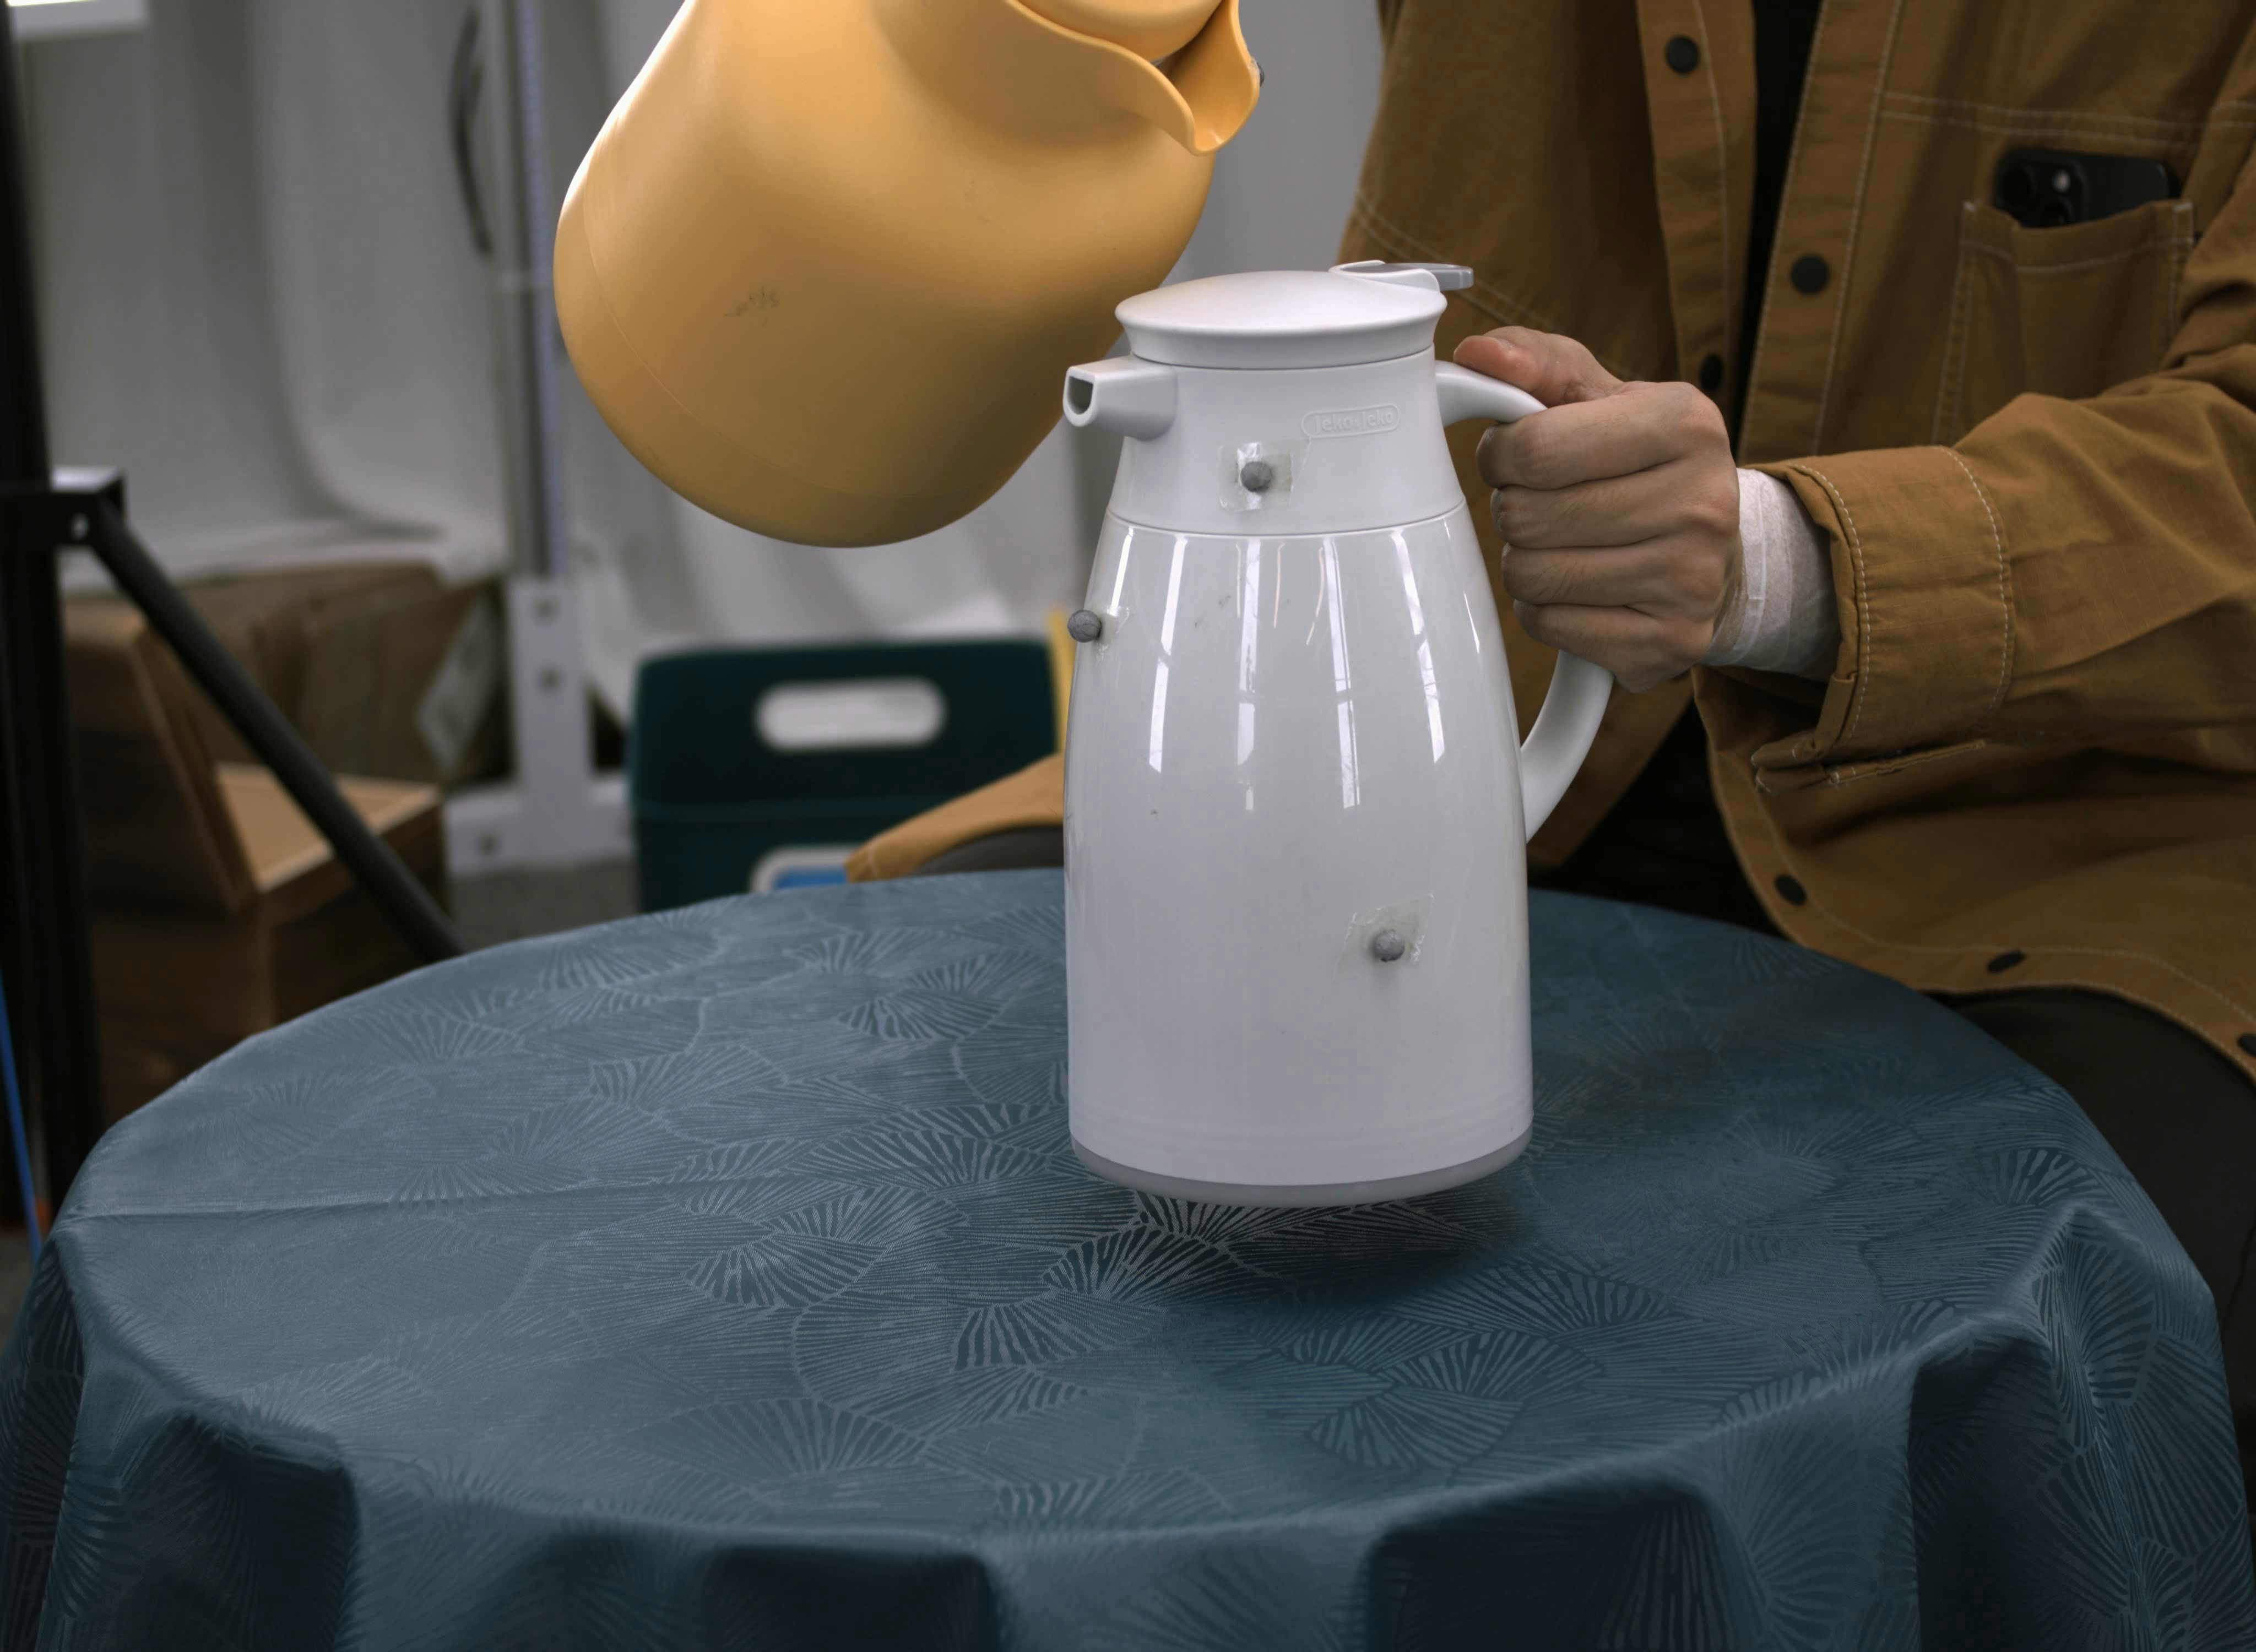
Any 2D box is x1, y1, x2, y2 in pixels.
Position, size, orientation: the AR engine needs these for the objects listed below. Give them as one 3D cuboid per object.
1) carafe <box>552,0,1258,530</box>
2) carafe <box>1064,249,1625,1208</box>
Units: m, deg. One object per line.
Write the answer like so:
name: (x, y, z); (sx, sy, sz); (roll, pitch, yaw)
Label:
carafe: (-0.066, -0.223, 1.560); (0.160, 0.204, 0.263); (-22, -13, -35)
carafe: (0.062, -0.034, 1.487); (0.164, 0.249, 0.135); (-7, 14, -24)
